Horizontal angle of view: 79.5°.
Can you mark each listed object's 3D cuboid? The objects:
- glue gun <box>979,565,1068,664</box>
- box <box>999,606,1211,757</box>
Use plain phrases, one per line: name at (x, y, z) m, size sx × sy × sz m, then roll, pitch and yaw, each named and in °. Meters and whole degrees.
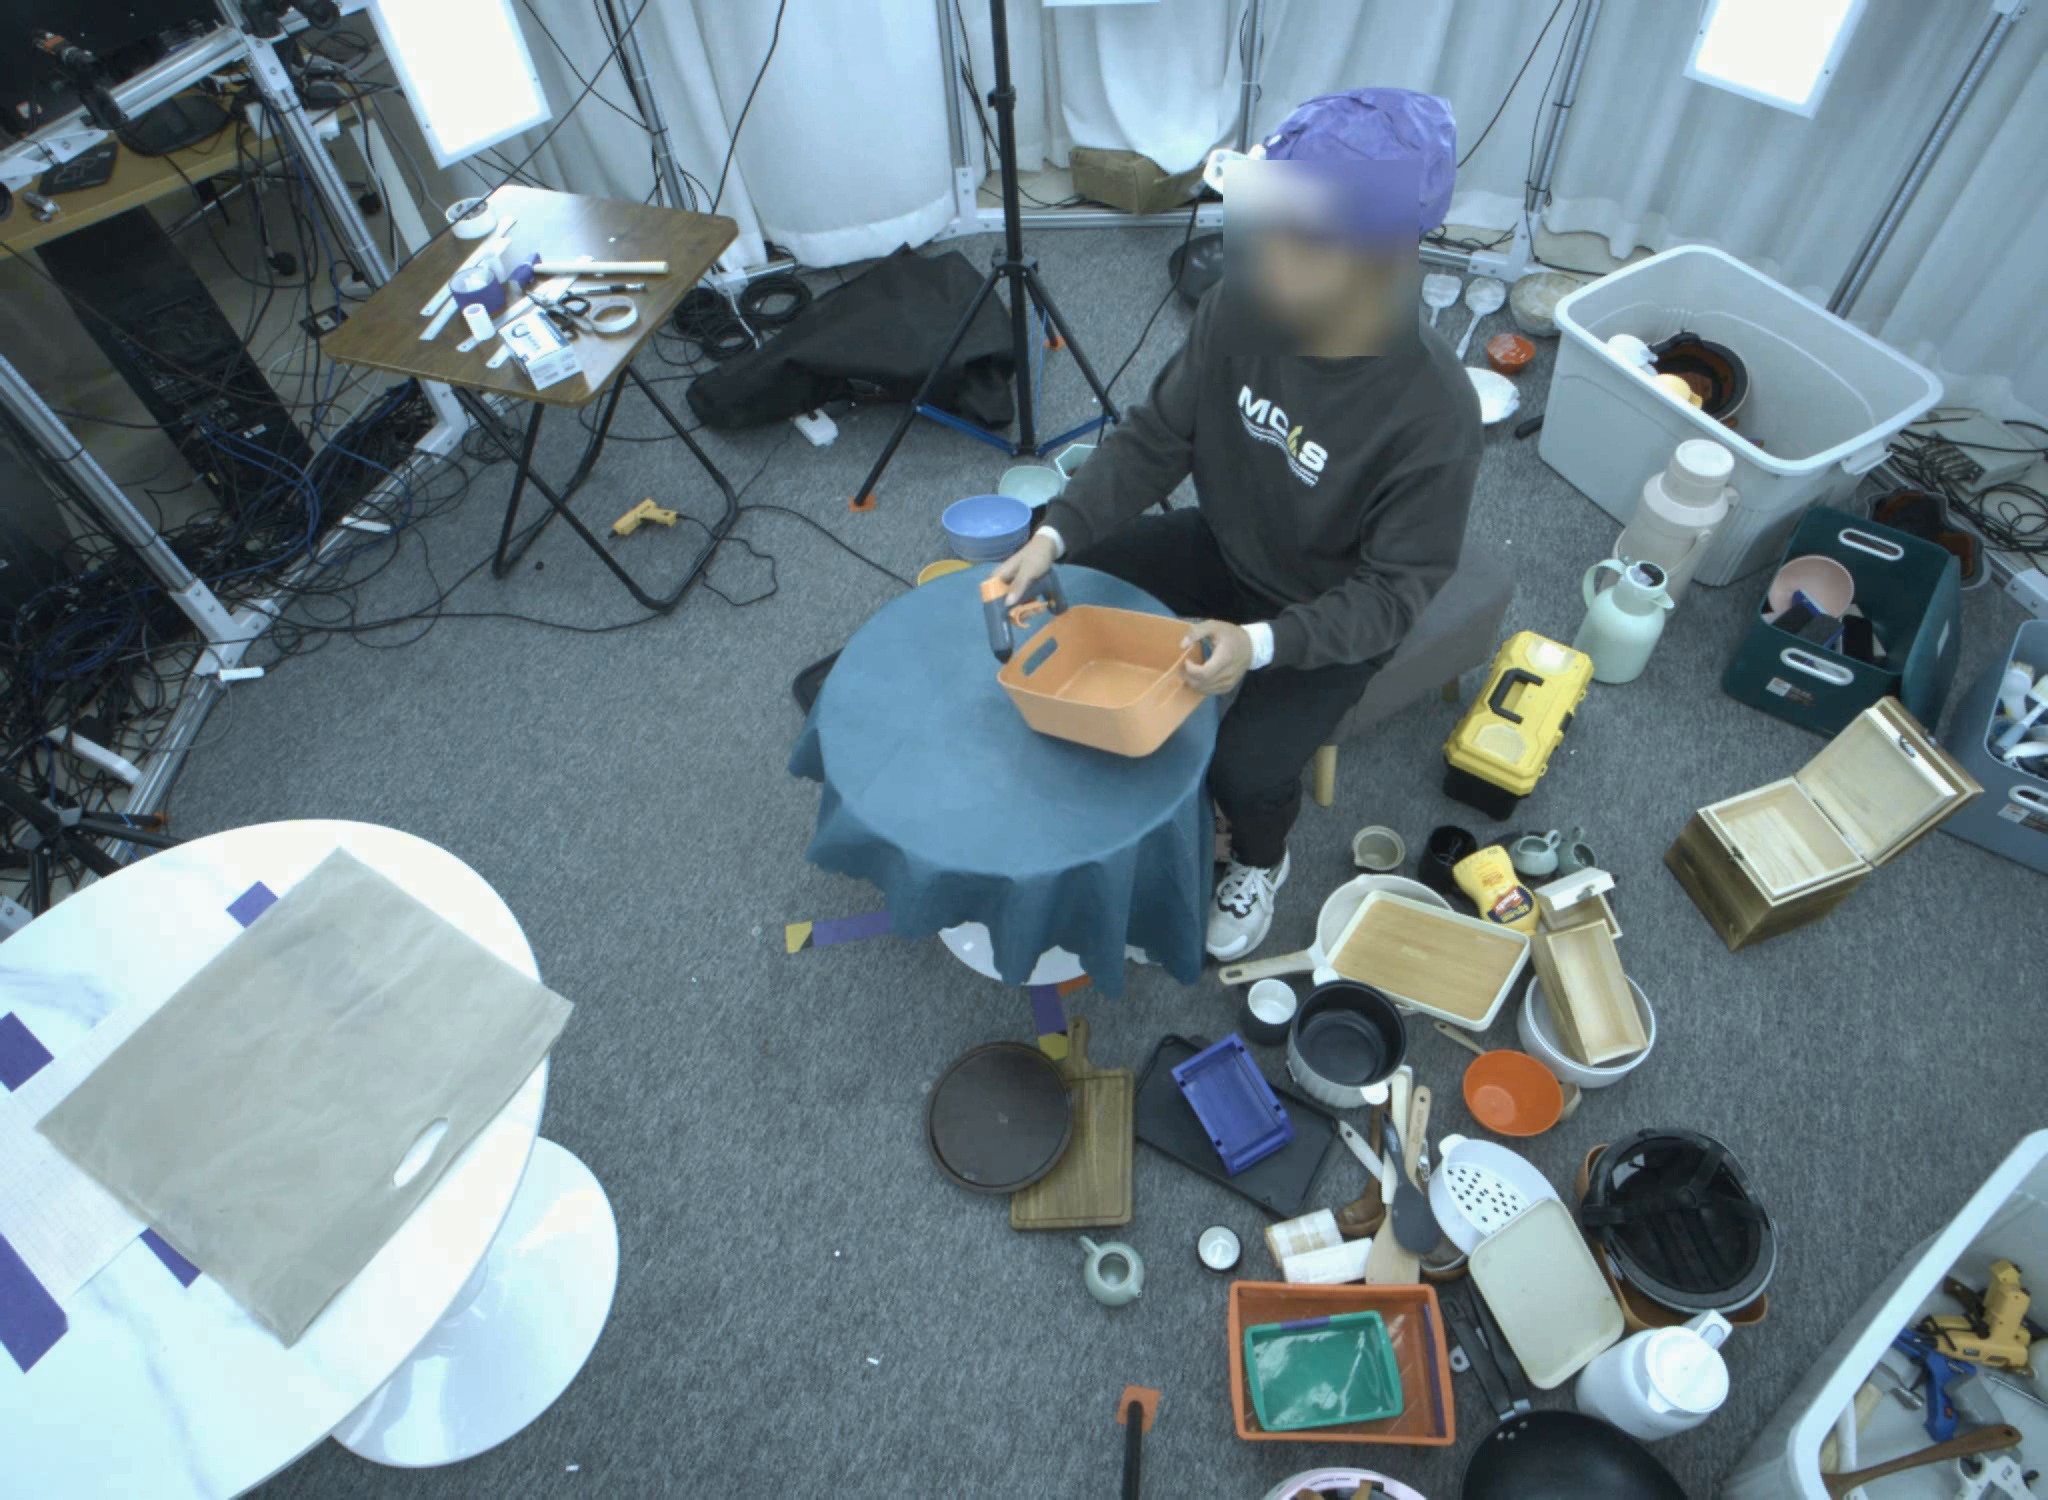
glue gun at (-0.005, -0.201, 1.764) m, size 0.141 × 0.119 × 0.040 m, roll -31°, pitch 17°, yaw -32°
box at (0.119, -0.098, 1.739) m, size 0.267 × 0.104 × 0.200 m, roll 16°, pitch 51°, yaw 43°
